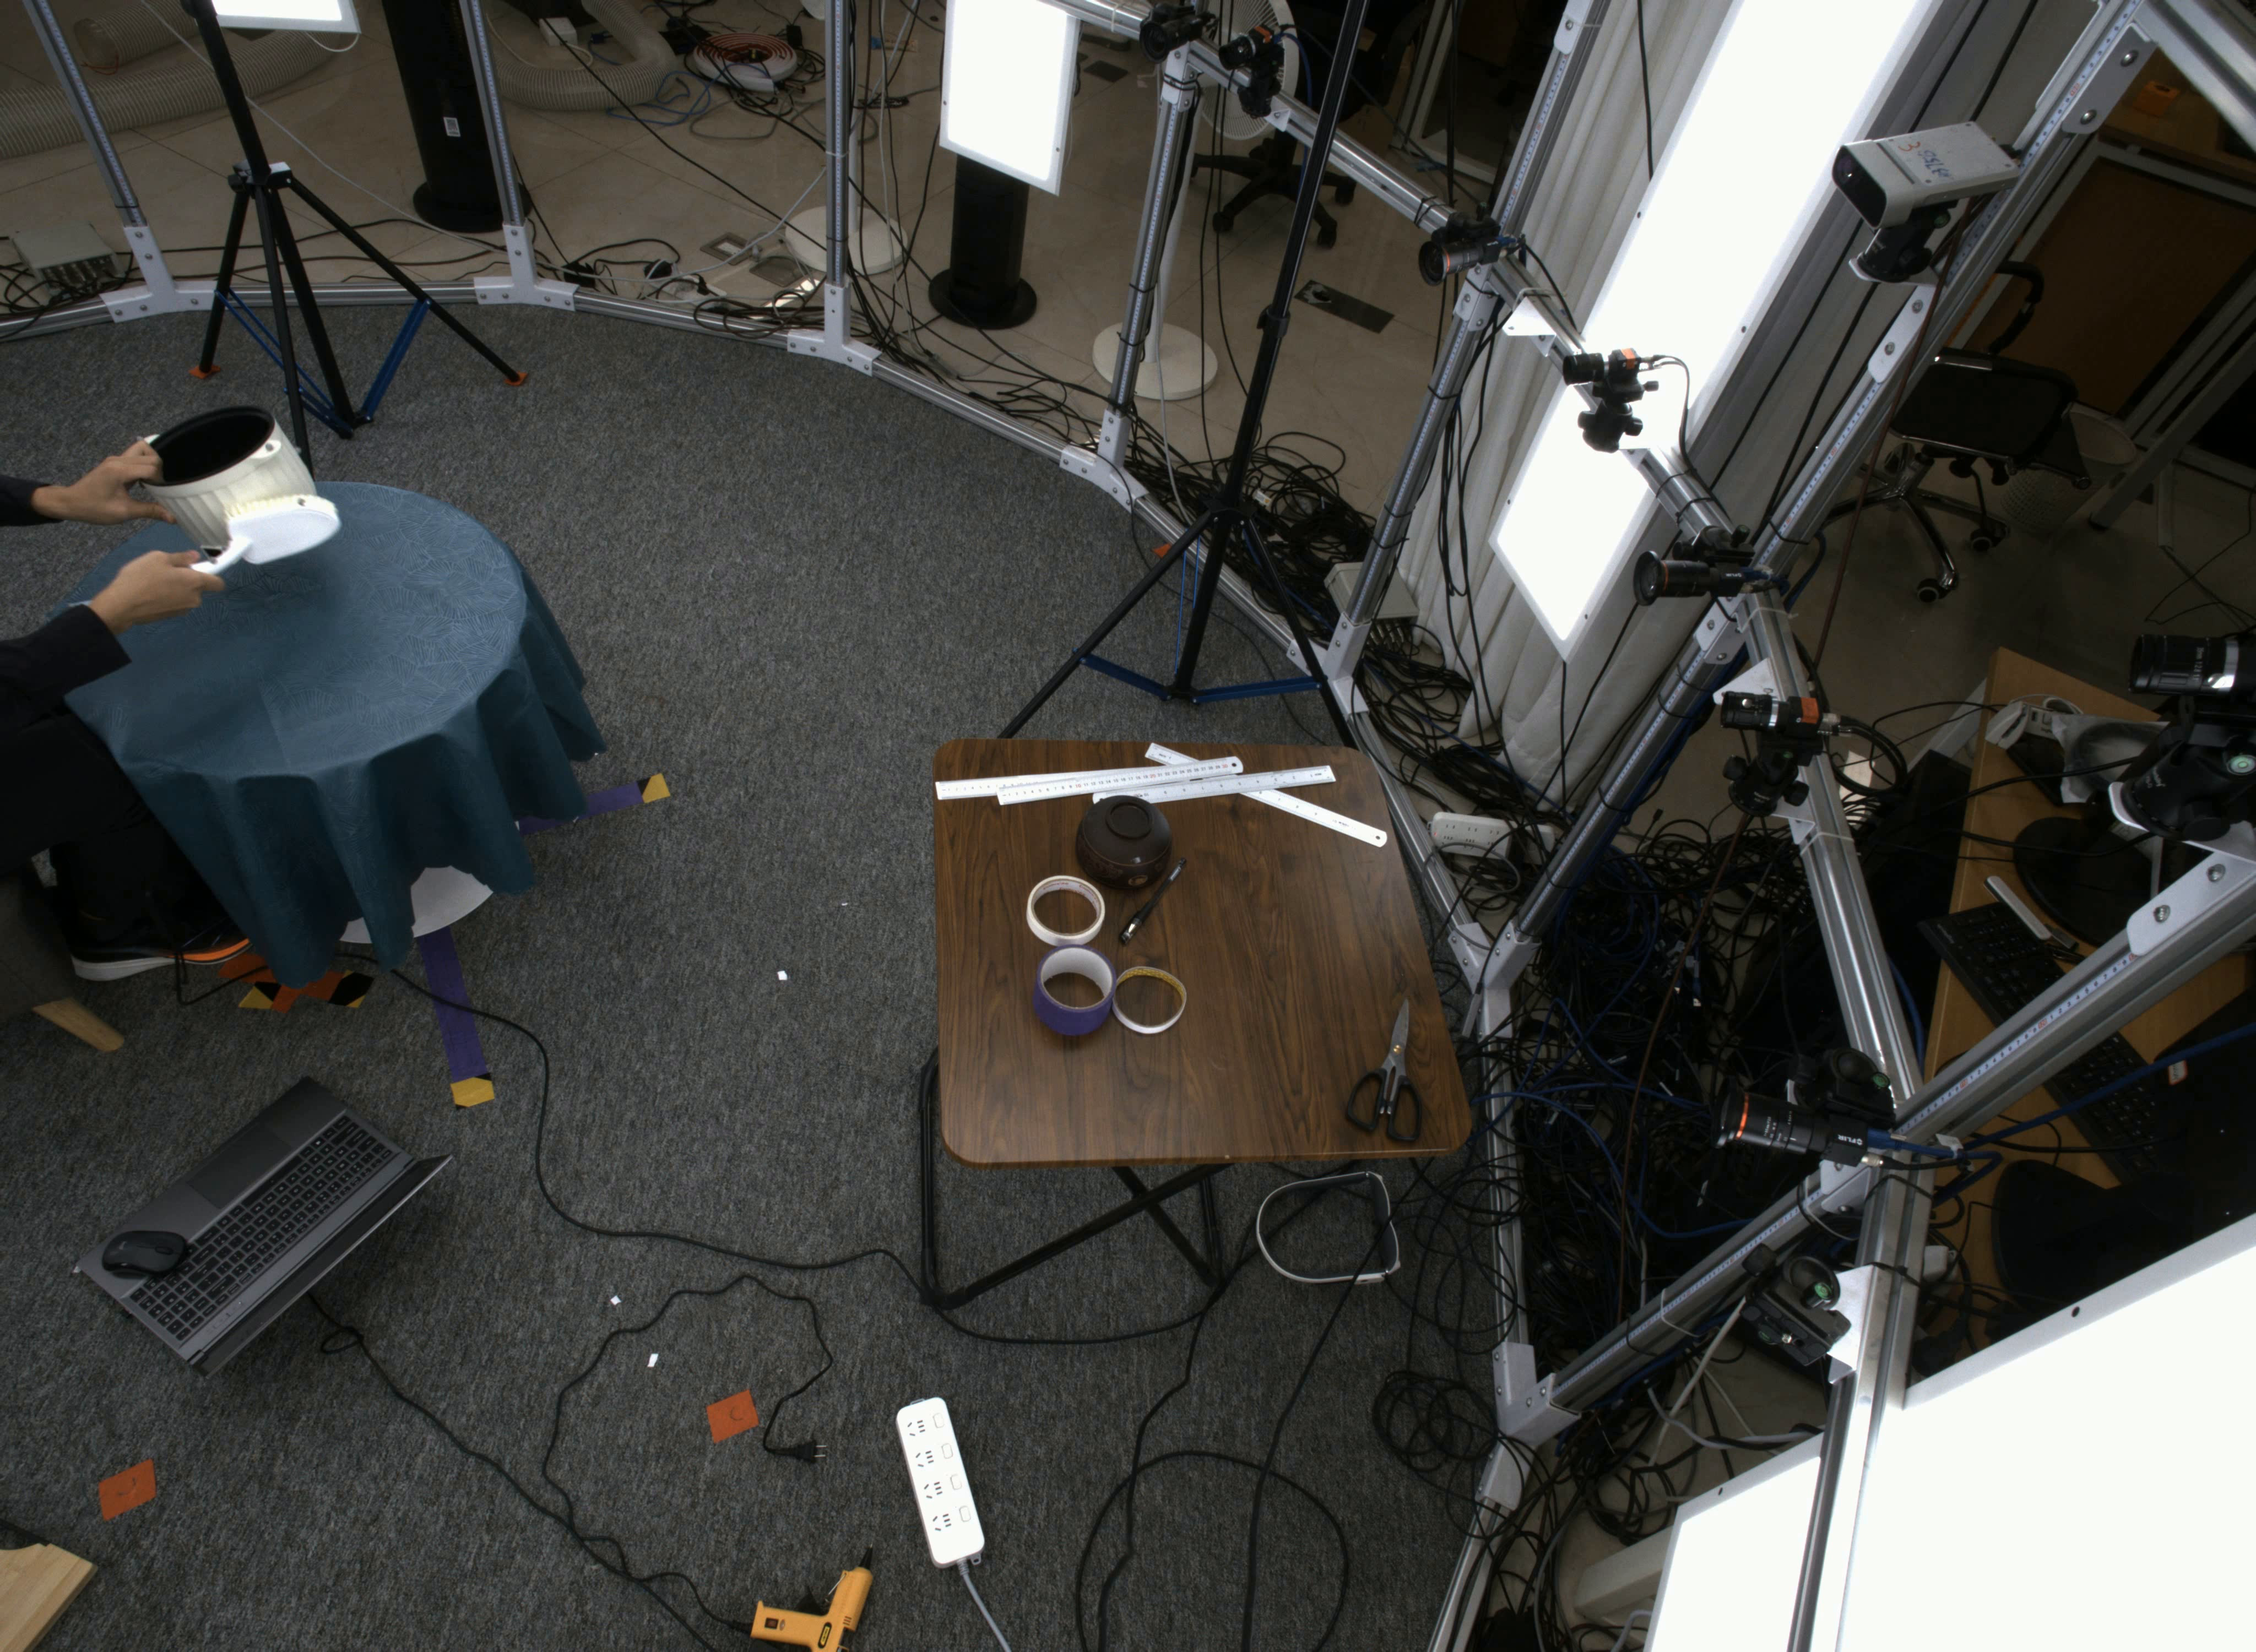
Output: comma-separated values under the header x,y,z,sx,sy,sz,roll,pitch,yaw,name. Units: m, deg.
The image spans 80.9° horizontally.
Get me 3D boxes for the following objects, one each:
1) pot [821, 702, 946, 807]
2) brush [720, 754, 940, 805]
x,y,z,sx,sy,sz,roll,pitch,yaw,name
-0.387,-0.119,2.101,0.232,0.146,0.192,7,22,45,pot
-0.447,-0.072,1.961,0.325,0.085,0.082,-2,67,-12,brush
